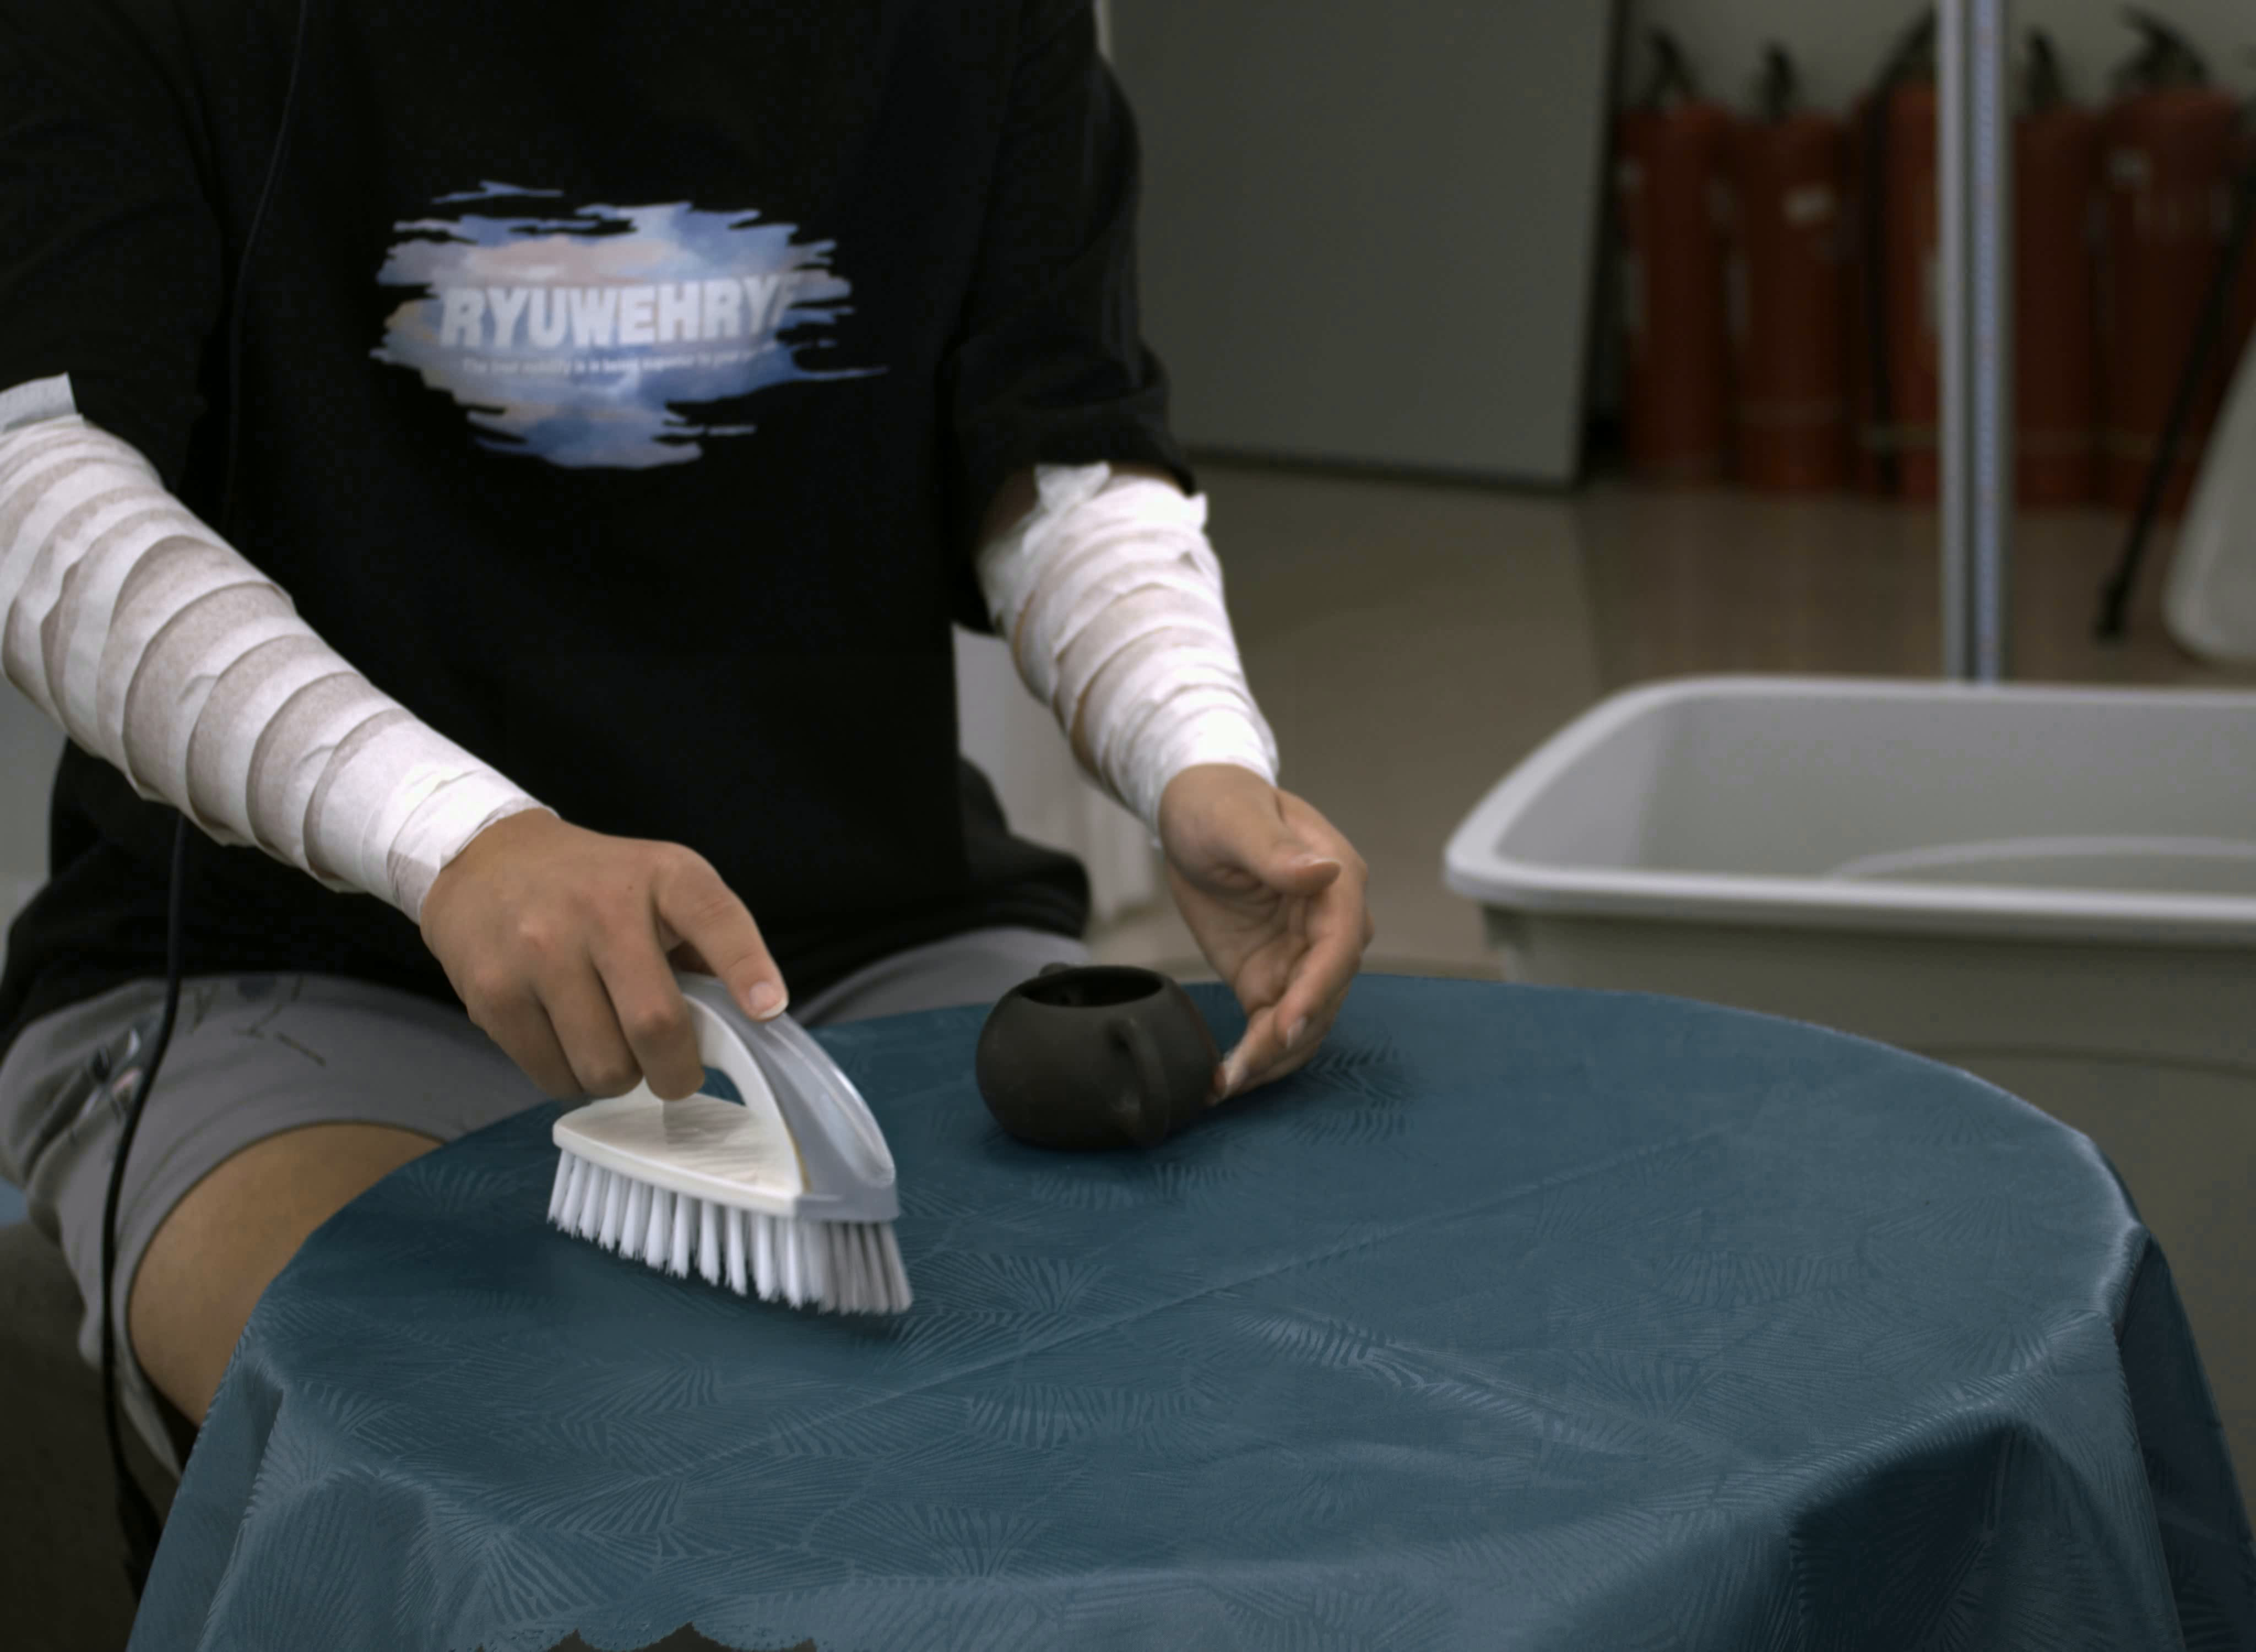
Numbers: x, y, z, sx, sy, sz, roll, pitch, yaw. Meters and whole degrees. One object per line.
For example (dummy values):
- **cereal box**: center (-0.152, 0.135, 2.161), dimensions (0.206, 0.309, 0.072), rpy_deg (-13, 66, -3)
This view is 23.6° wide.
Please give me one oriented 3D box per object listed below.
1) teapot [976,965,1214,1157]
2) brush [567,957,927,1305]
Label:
- **teapot**: center (-0.008, 0.082, 1.829), dimensions (0.081, 0.053, 0.115), rpy_deg (-8, 13, -15)
- **brush**: center (-0.117, 0.093, 1.704), dimensions (0.060, 0.095, 0.177), rpy_deg (-14, 17, -33)
